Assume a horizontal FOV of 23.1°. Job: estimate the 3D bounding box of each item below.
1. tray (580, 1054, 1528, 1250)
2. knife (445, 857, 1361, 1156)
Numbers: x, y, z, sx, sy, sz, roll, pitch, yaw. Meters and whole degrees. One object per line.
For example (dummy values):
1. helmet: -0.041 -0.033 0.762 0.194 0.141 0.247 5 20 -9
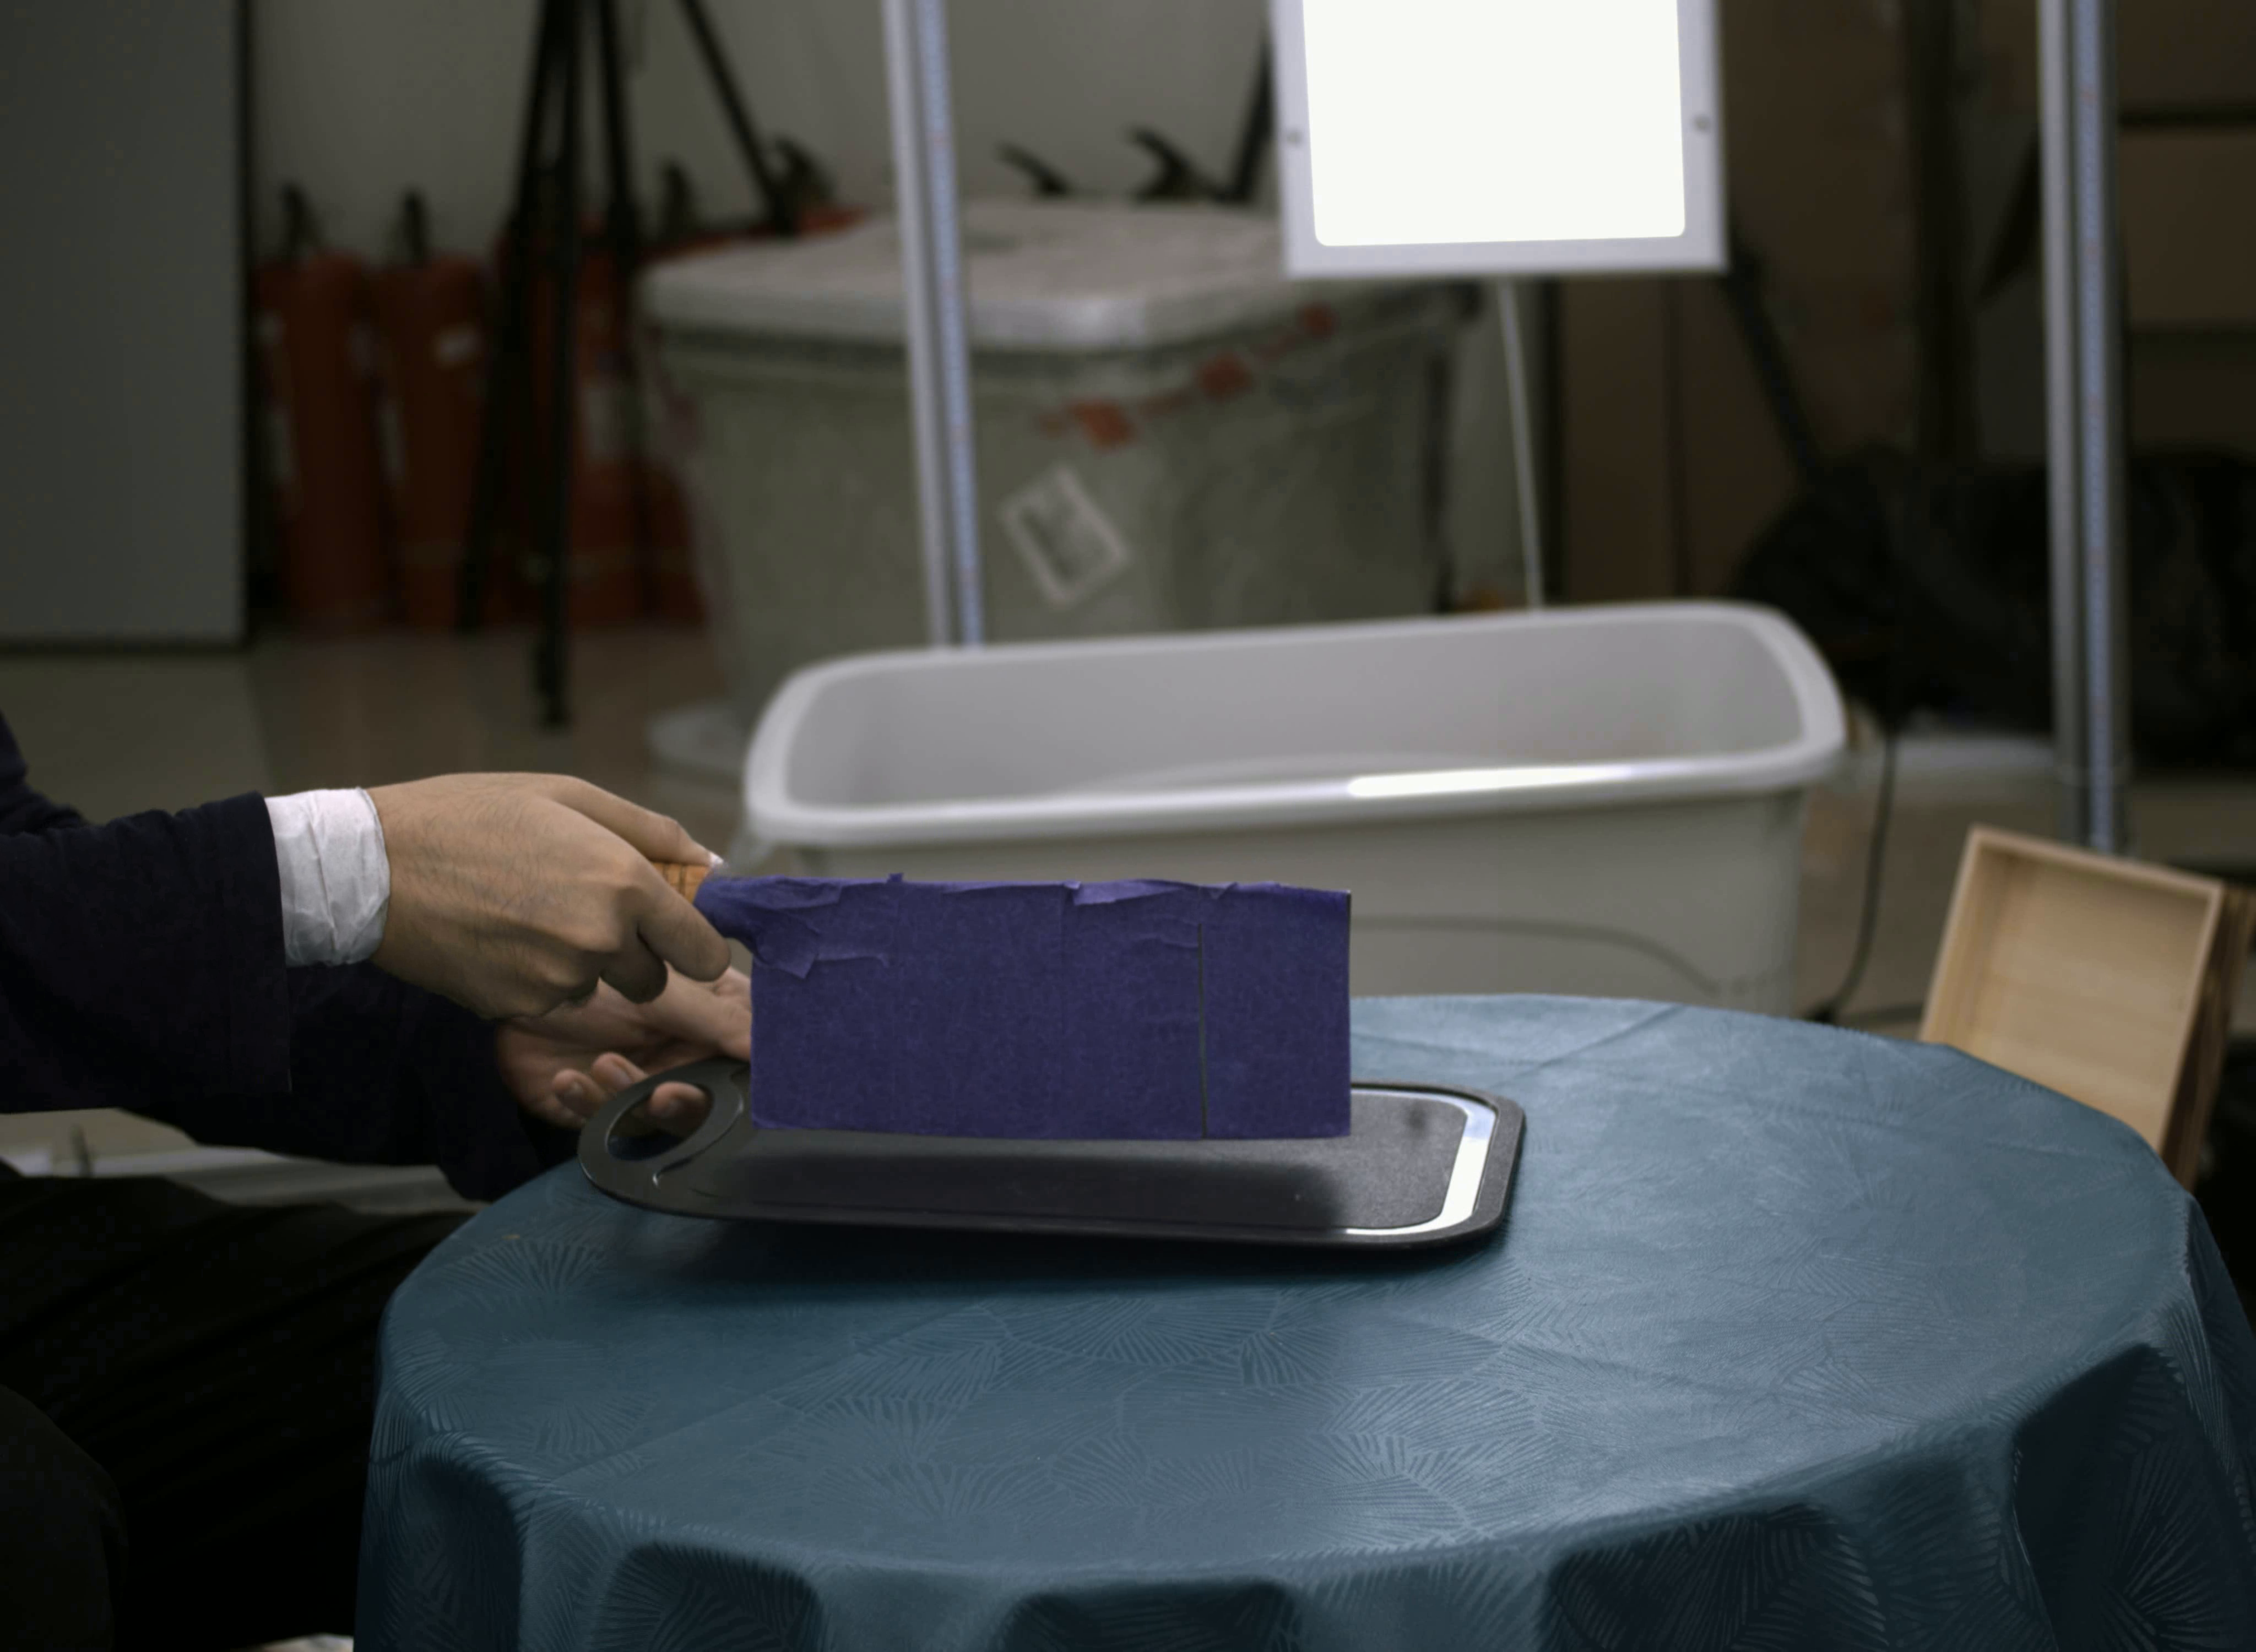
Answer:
1. tray: -0.027 0.109 1.907 0.327 0.010 0.209 2 13 10
2. knife: -0.077 0.061 1.888 0.315 0.104 0.032 1 10 5
